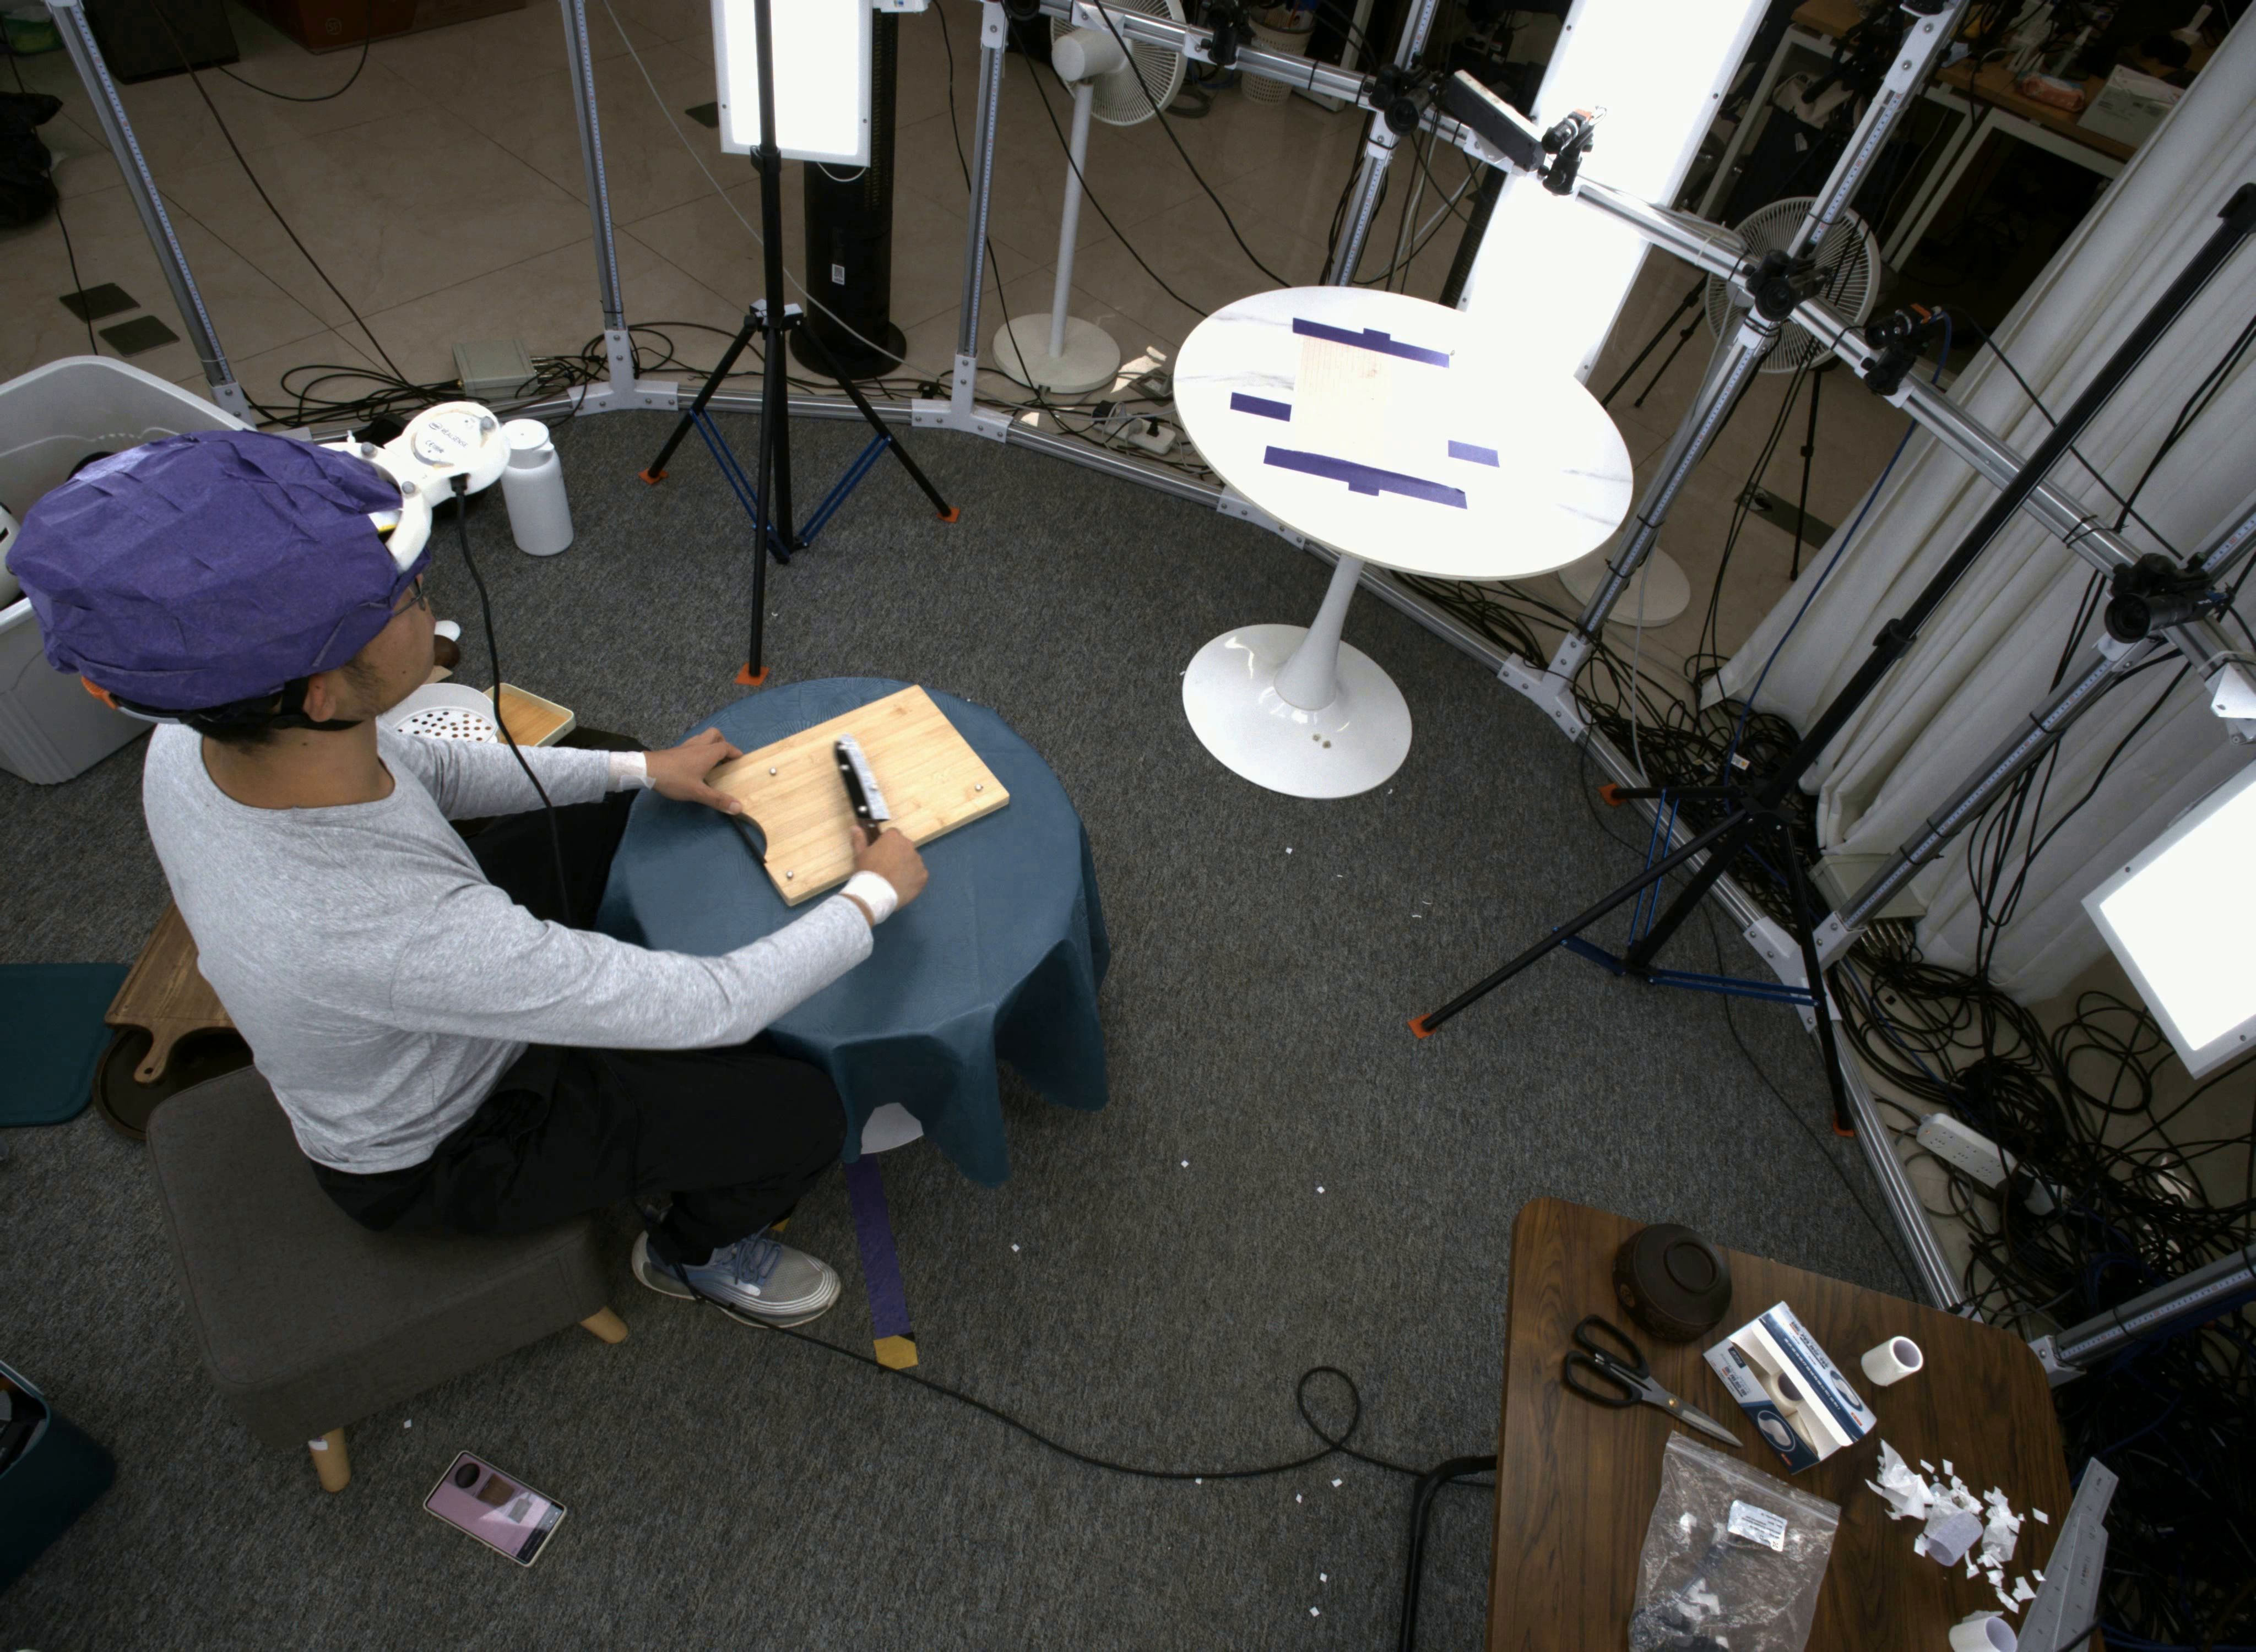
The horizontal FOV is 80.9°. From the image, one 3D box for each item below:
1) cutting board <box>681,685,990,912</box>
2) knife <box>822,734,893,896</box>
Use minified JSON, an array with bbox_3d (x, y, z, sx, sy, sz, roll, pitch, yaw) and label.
[{"bbox_3d":[-0.393,-0.047,1.768,0.350,0.024,0.244,-29,65,-30],"label":"cutting board"},{"bbox_3d":[-0.350,-0.023,1.677,0.051,0.020,0.281,0,47,-31],"label":"knife"}]
